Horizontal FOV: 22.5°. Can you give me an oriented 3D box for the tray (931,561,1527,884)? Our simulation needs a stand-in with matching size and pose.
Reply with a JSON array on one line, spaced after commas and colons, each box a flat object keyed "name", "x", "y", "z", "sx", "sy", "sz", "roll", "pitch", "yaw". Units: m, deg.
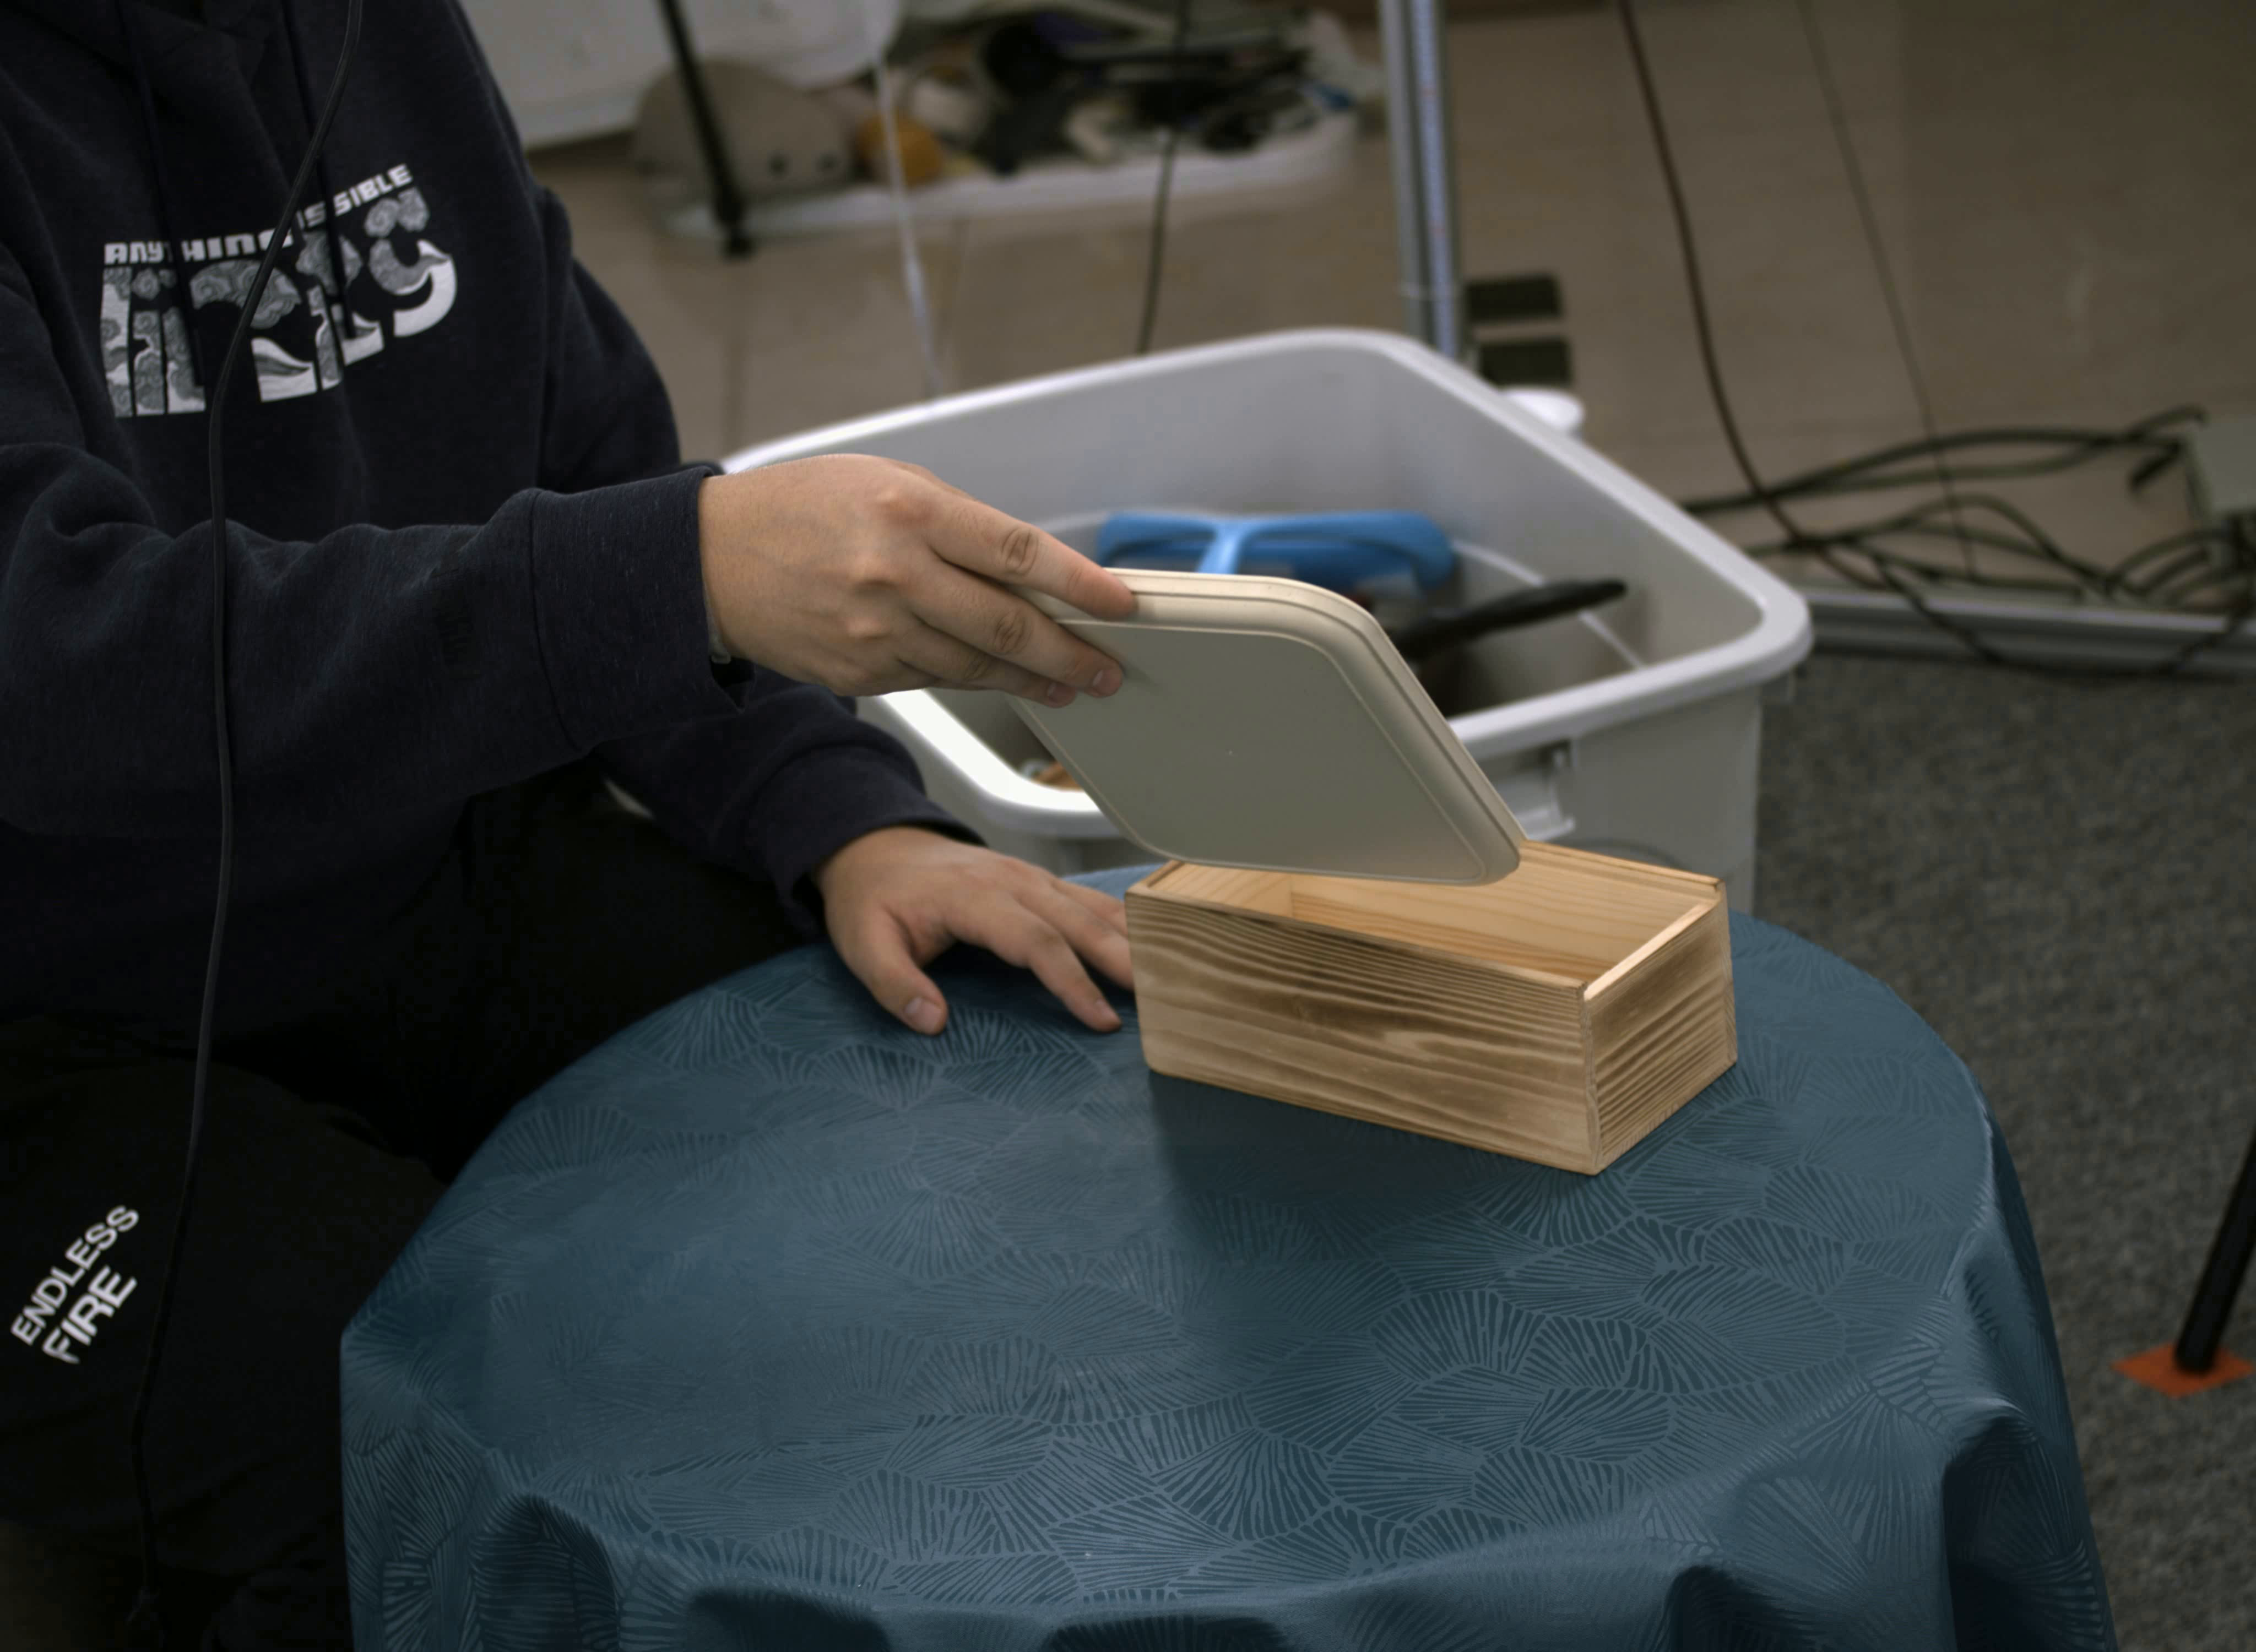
[{"name": "tray", "x": 0.038, "y": -0.033, "z": 2.057, "sx": 0.171, "sy": 0.243, "sz": 0.017, "roll": 4, "pitch": 68, "yaw": 24}]

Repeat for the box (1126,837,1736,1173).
[{"name": "box", "x": 0.117, "y": 0.057, "z": 2.200, "sx": 0.210, "sy": 0.081, "sz": 0.106, "roll": 12, "pitch": 30, "yaw": 35}]
